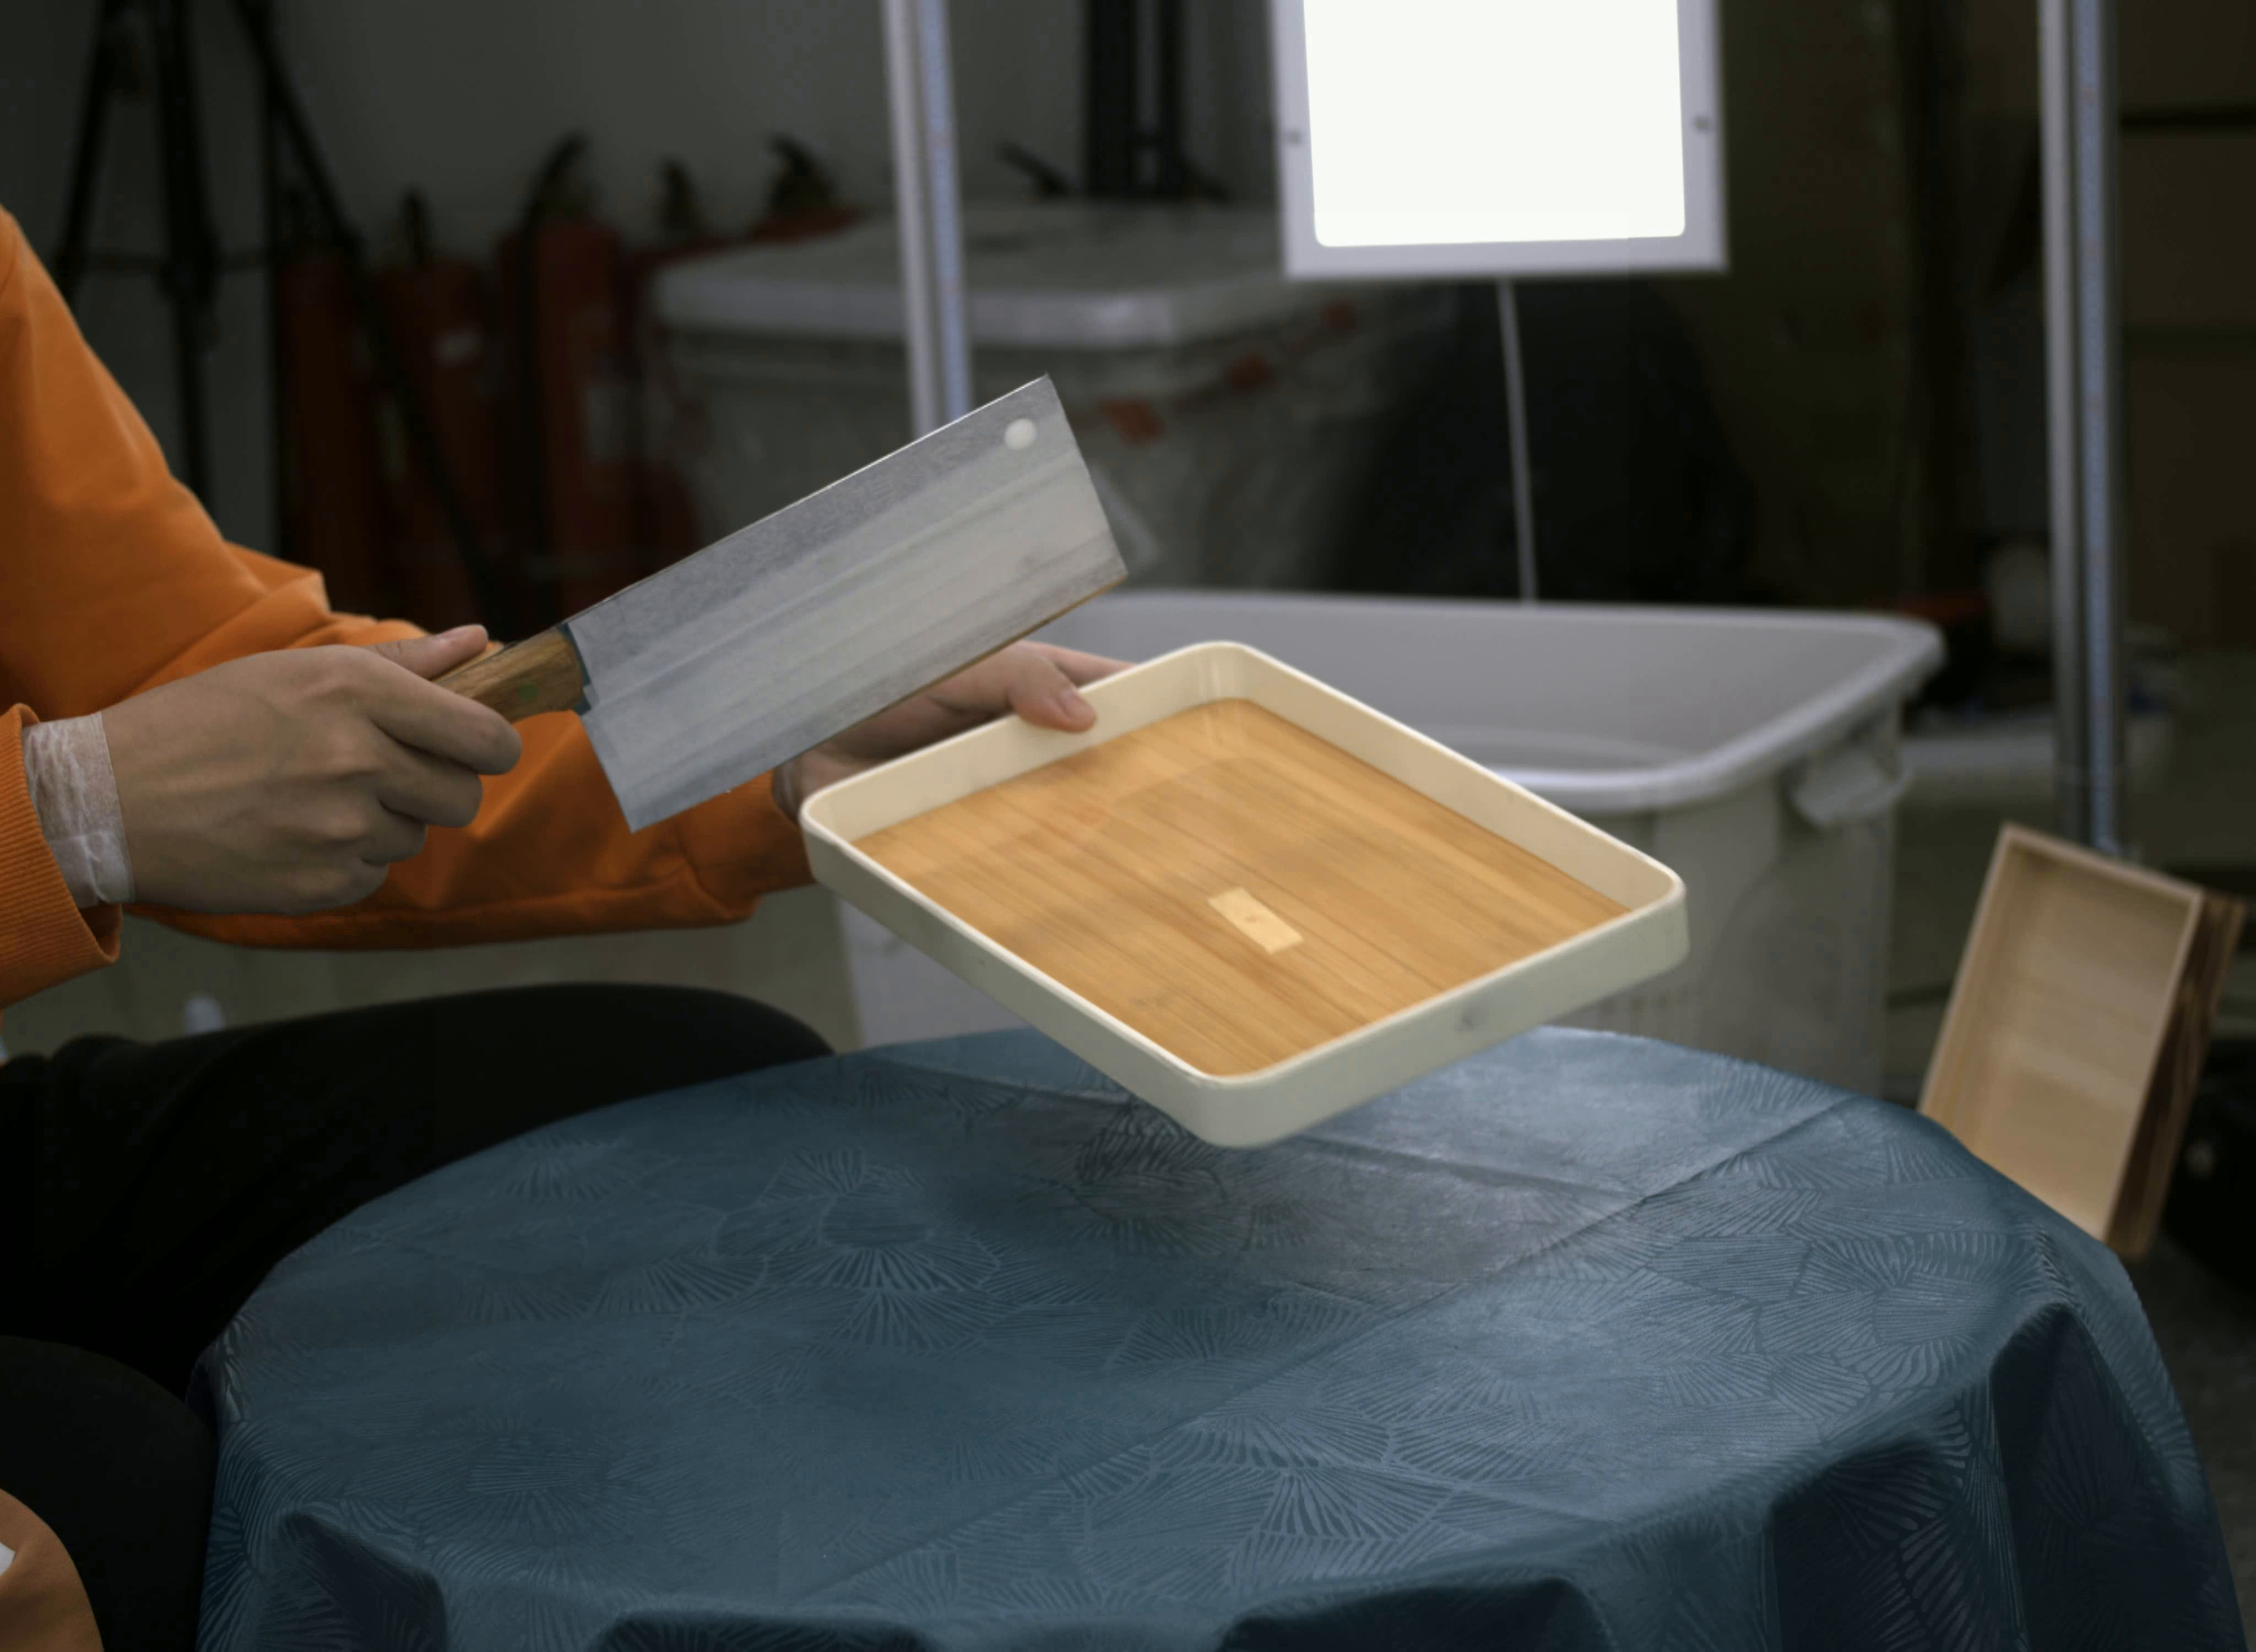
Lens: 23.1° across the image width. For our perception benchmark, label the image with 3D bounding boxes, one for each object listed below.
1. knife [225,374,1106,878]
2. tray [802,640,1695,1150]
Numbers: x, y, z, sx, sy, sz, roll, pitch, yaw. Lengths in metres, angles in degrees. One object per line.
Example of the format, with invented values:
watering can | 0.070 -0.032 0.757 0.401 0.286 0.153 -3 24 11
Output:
knife | -0.147 -0.048 1.819 0.304 0.092 0.021 -28 38 -4
tray | 0.036 0.018 1.873 0.188 0.027 0.305 -23 28 -23
